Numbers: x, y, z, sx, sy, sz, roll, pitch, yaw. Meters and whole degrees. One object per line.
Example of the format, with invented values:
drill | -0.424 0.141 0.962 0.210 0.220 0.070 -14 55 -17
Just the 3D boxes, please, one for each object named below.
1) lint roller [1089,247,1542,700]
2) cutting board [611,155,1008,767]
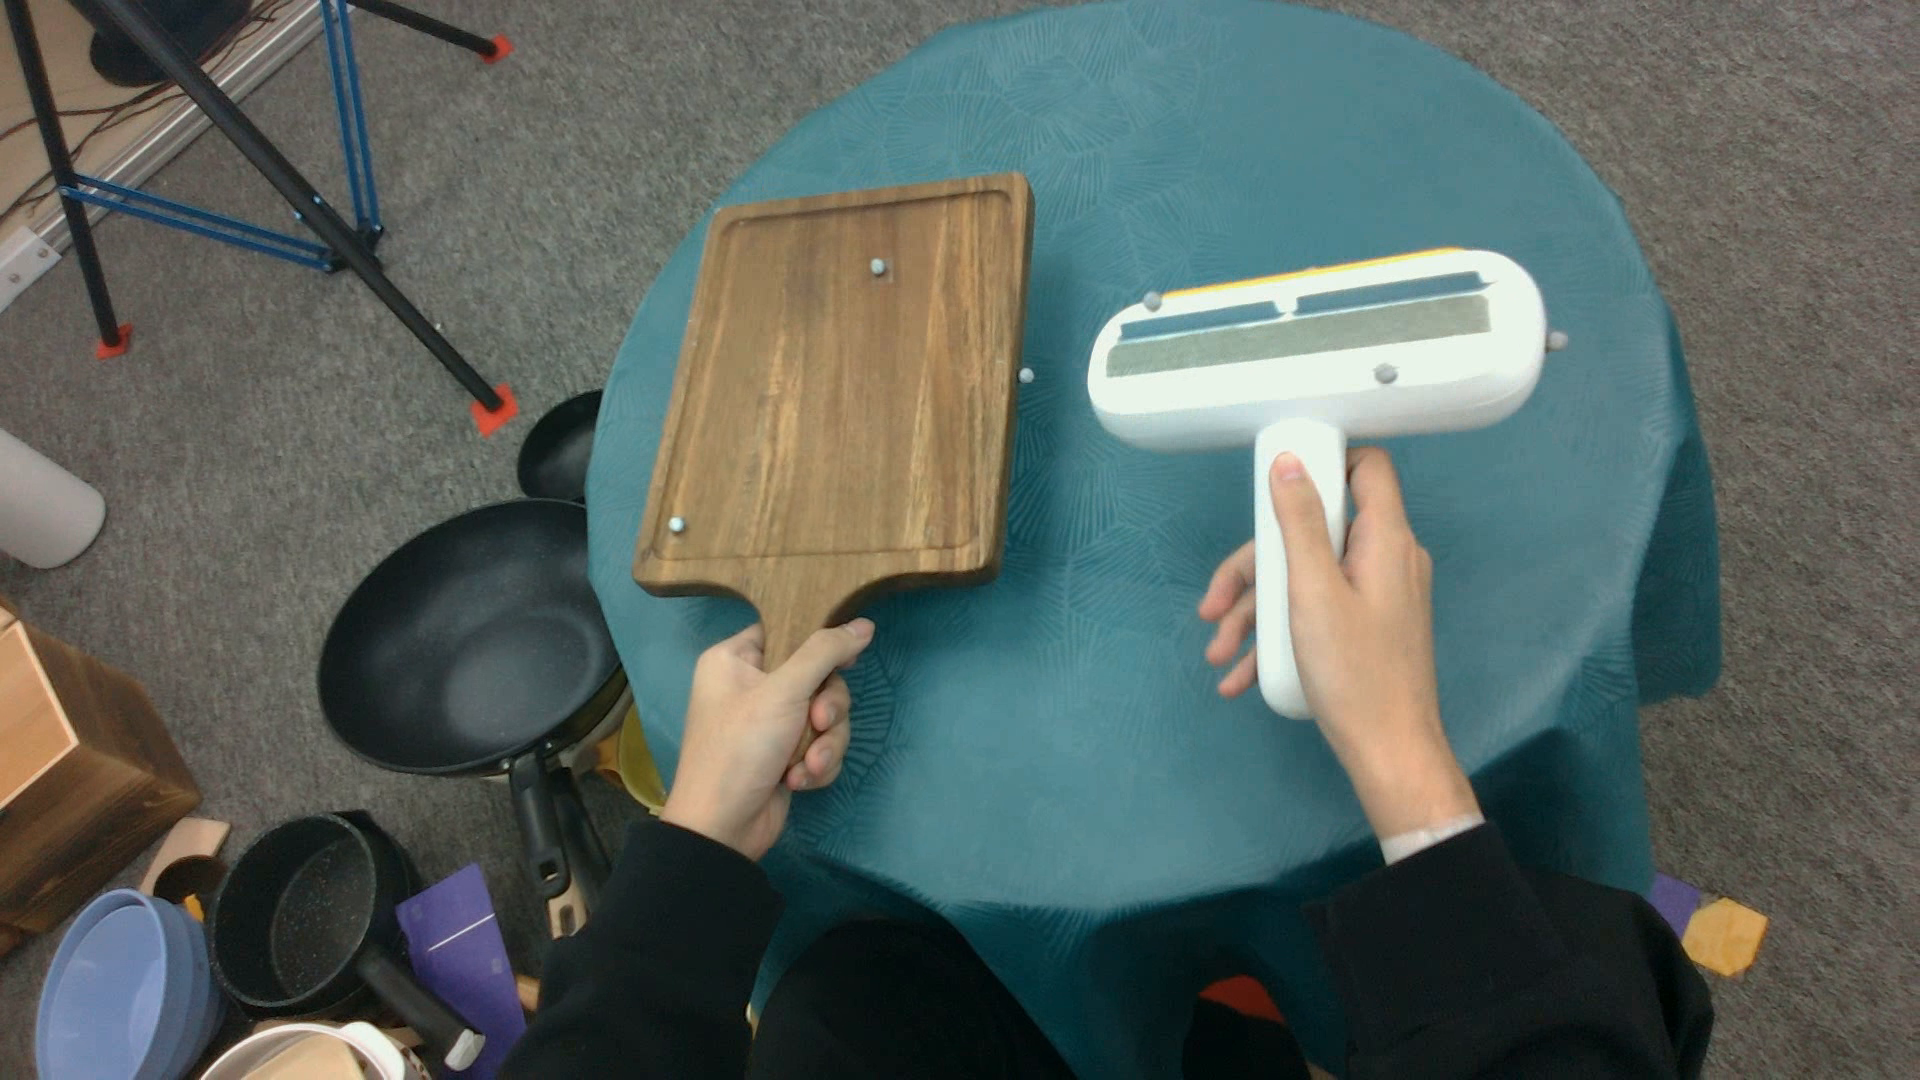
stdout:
lint roller | 0.141 -0.030 0.589 0.192 0.074 0.193 4 73 26
cutting board | -0.079 -0.053 0.721 0.201 0.023 0.353 -3 62 14
